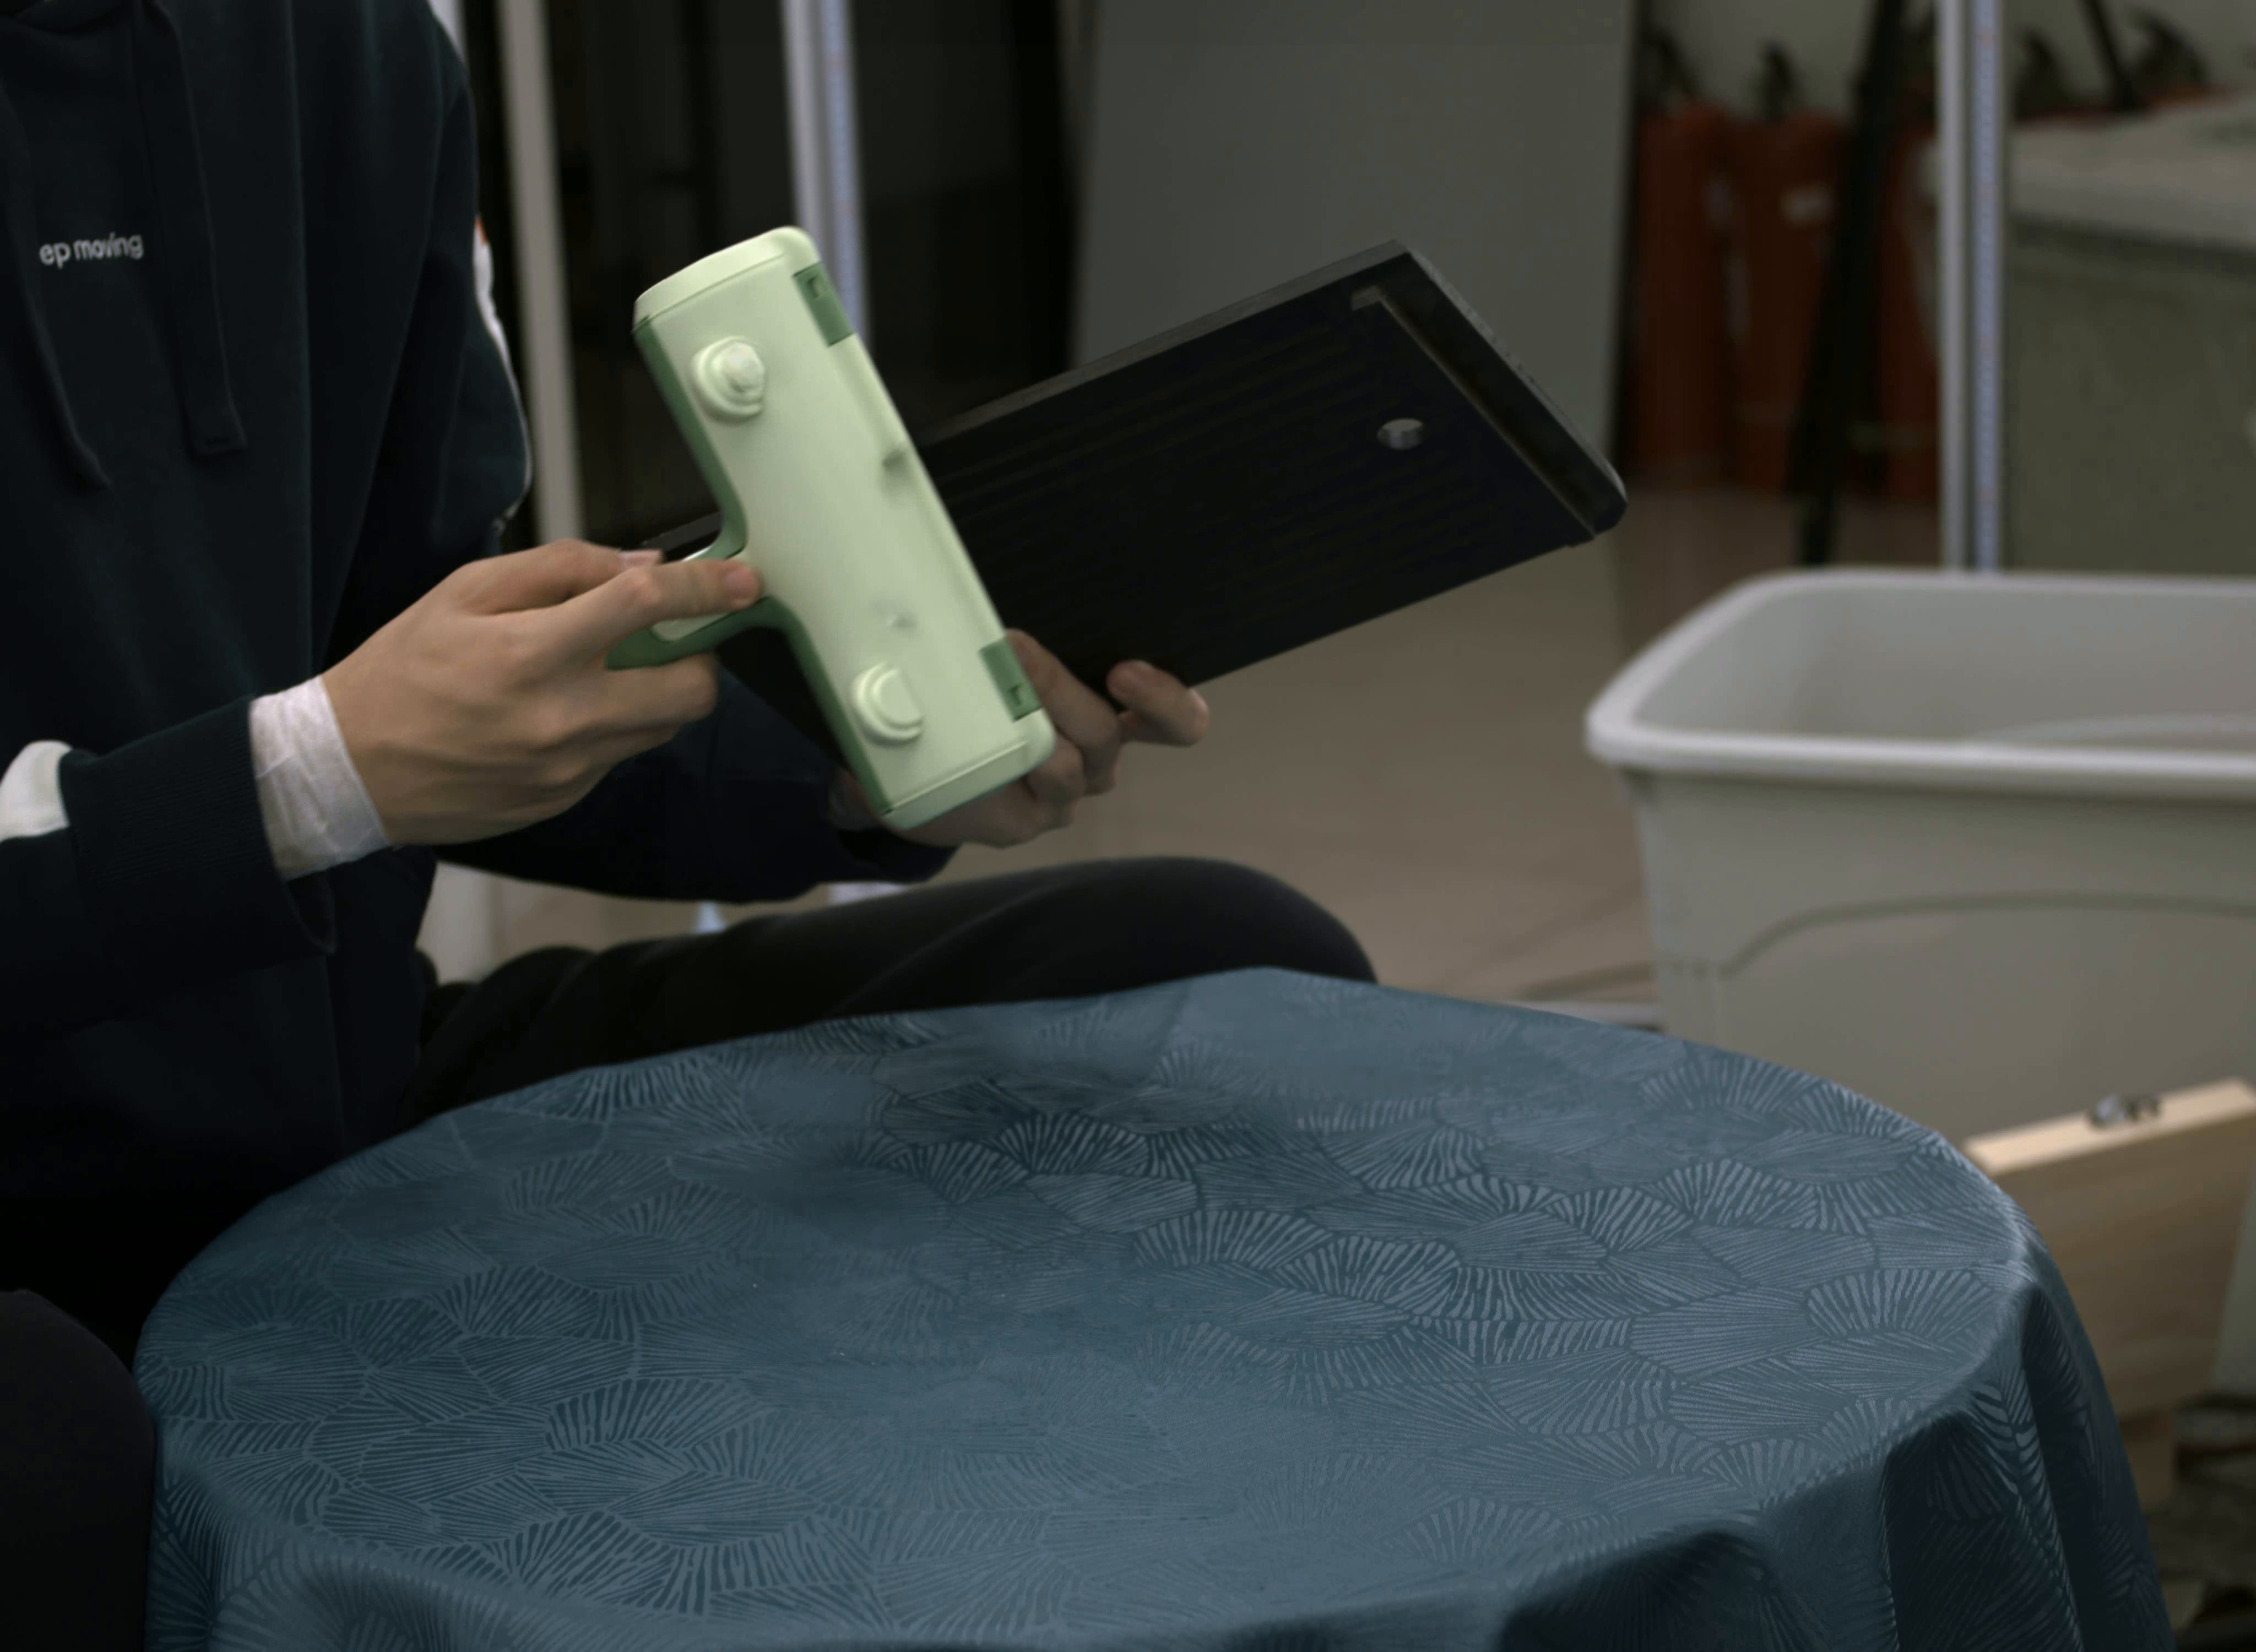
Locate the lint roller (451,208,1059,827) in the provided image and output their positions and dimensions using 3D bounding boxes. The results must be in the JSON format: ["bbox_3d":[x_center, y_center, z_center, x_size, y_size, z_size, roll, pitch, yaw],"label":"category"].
[{"bbox_3d":[-0.142,-0.073,1.747,0.182,0.200,0.082,-26,0,4],"label":"lint roller"}]

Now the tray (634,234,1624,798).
[{"bbox_3d":[0.000,-0.094,1.810,0.307,0.019,0.168,-21,-39,25],"label":"tray"}]
